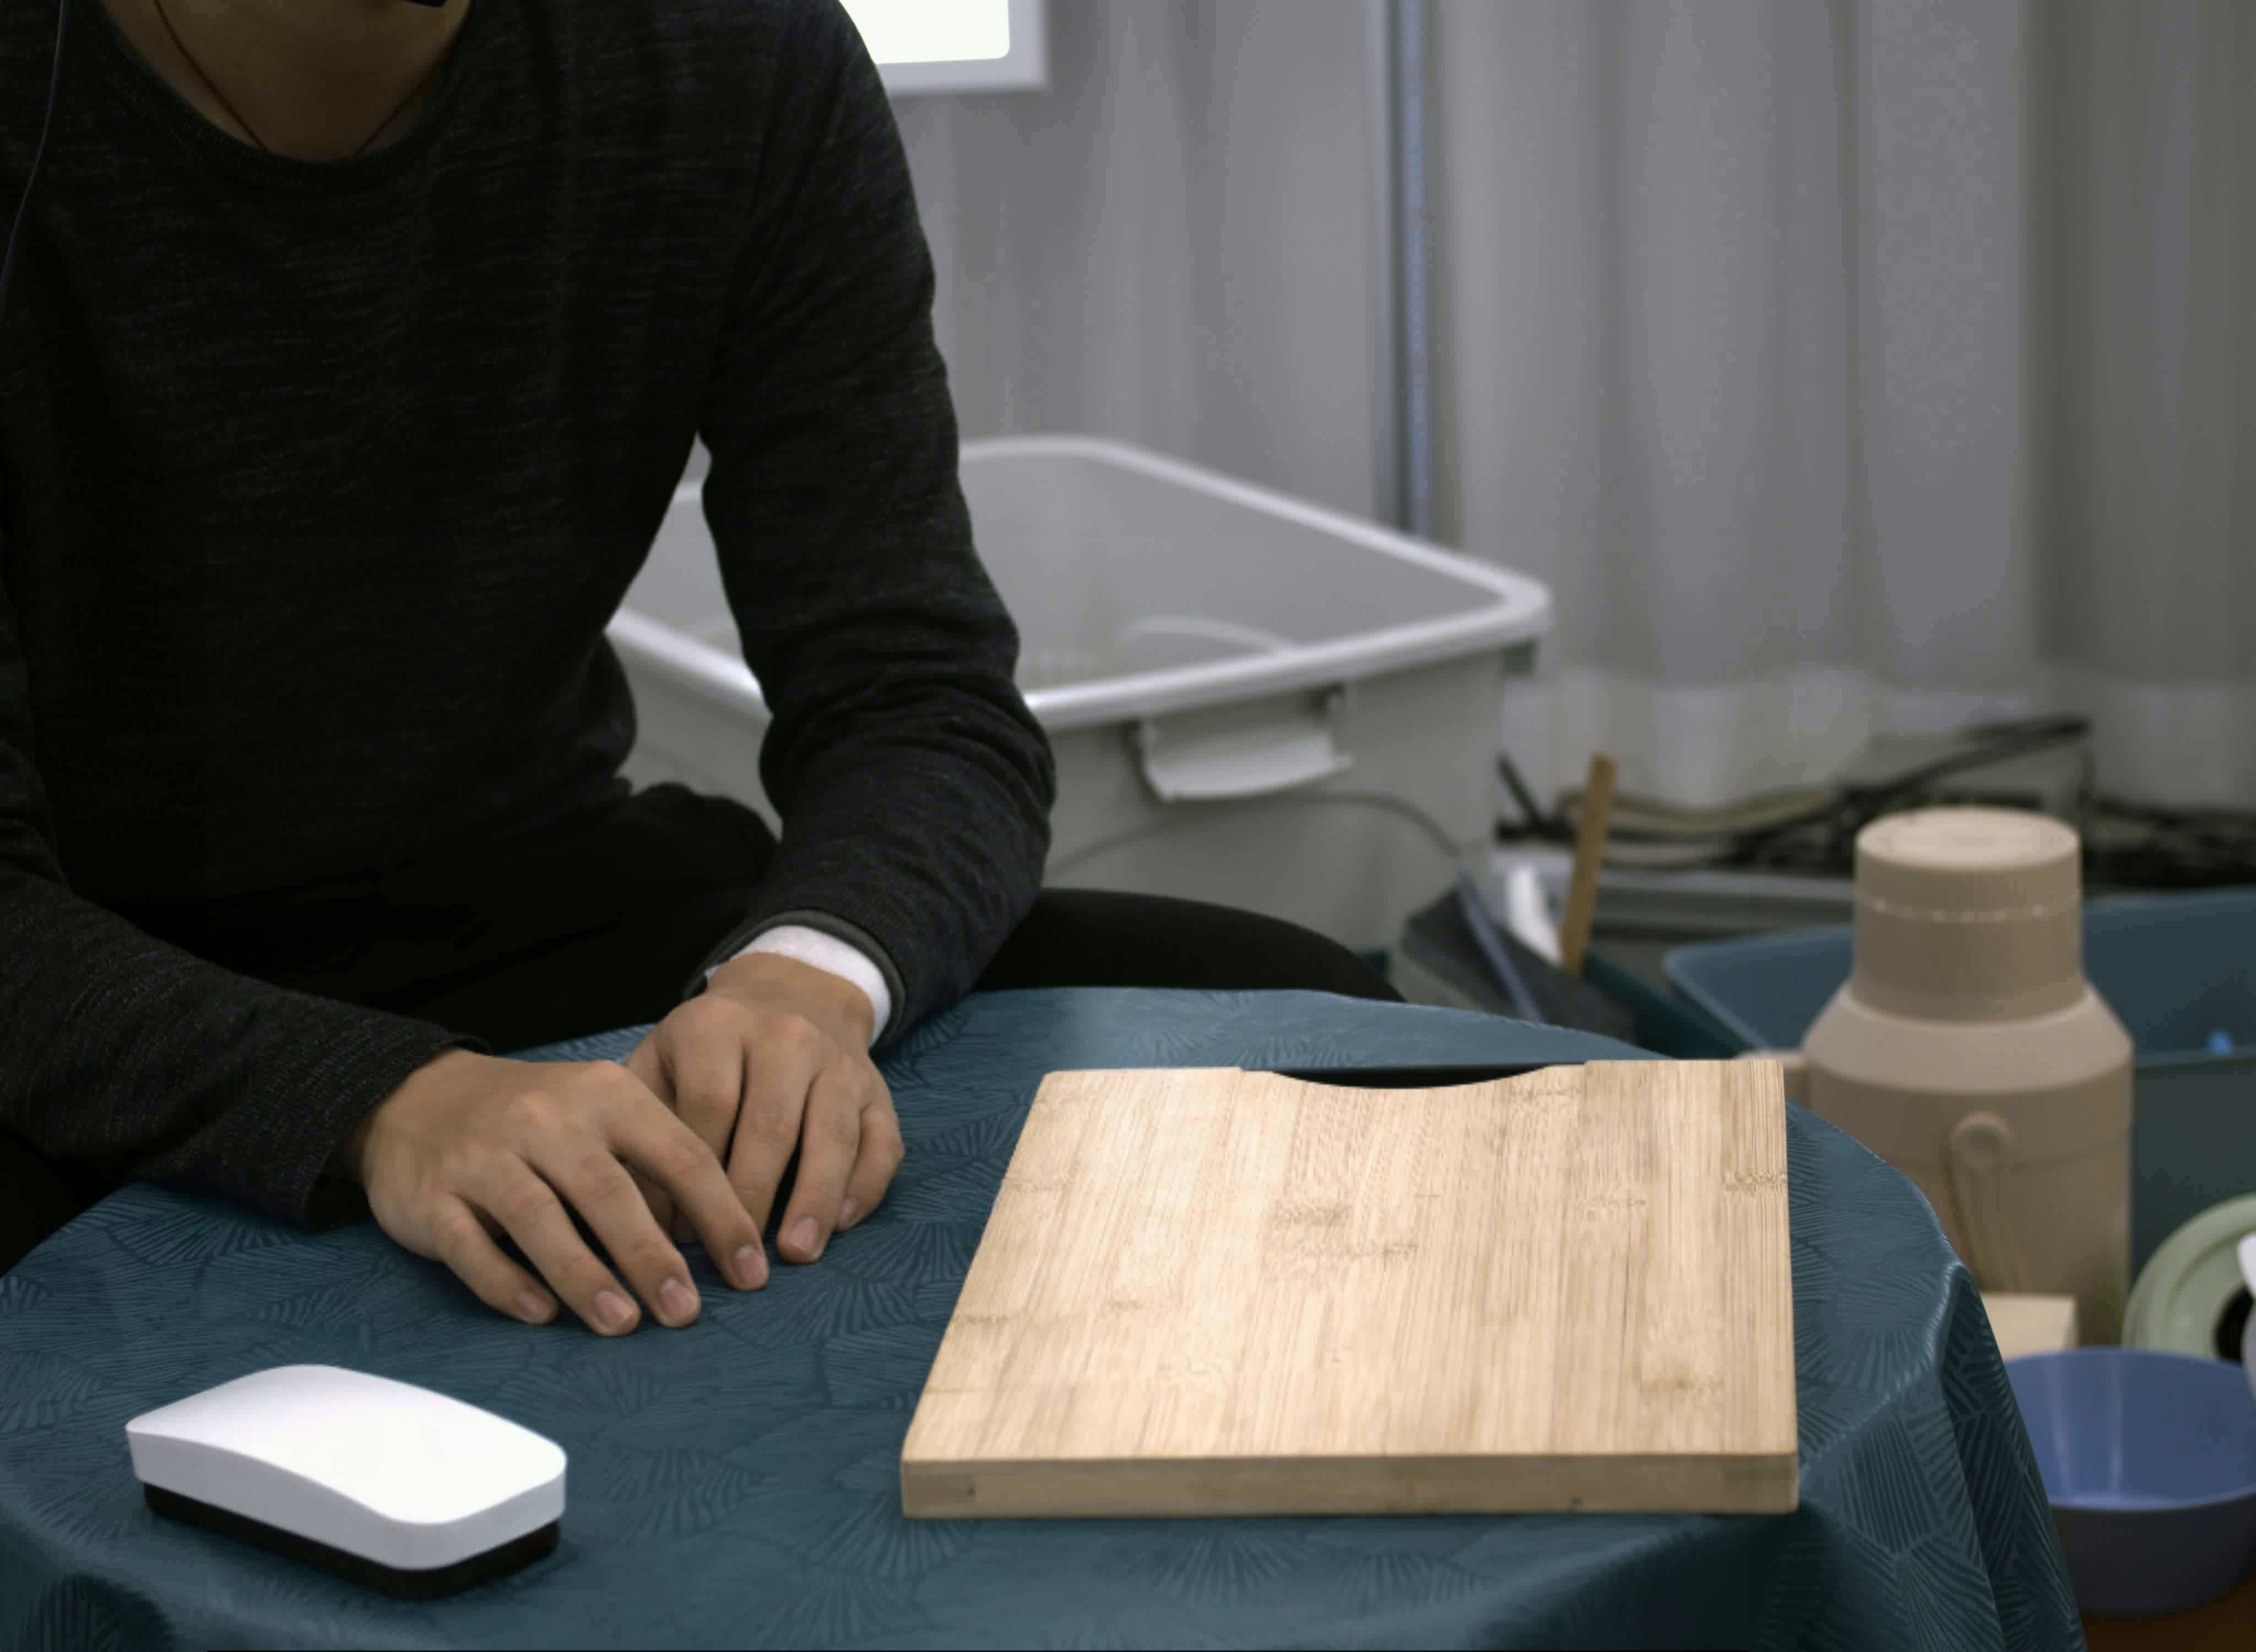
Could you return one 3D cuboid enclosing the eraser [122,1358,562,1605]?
[{"bbox_3d":[-0.211,0.173,1.474,0.132,0.034,0.063,12,22,42],"label":"eraser"}]

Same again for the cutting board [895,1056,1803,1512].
[{"bbox_3d":[0.076,0.130,1.611,0.250,0.023,0.351,-1,15,6],"label":"cutting board"}]
